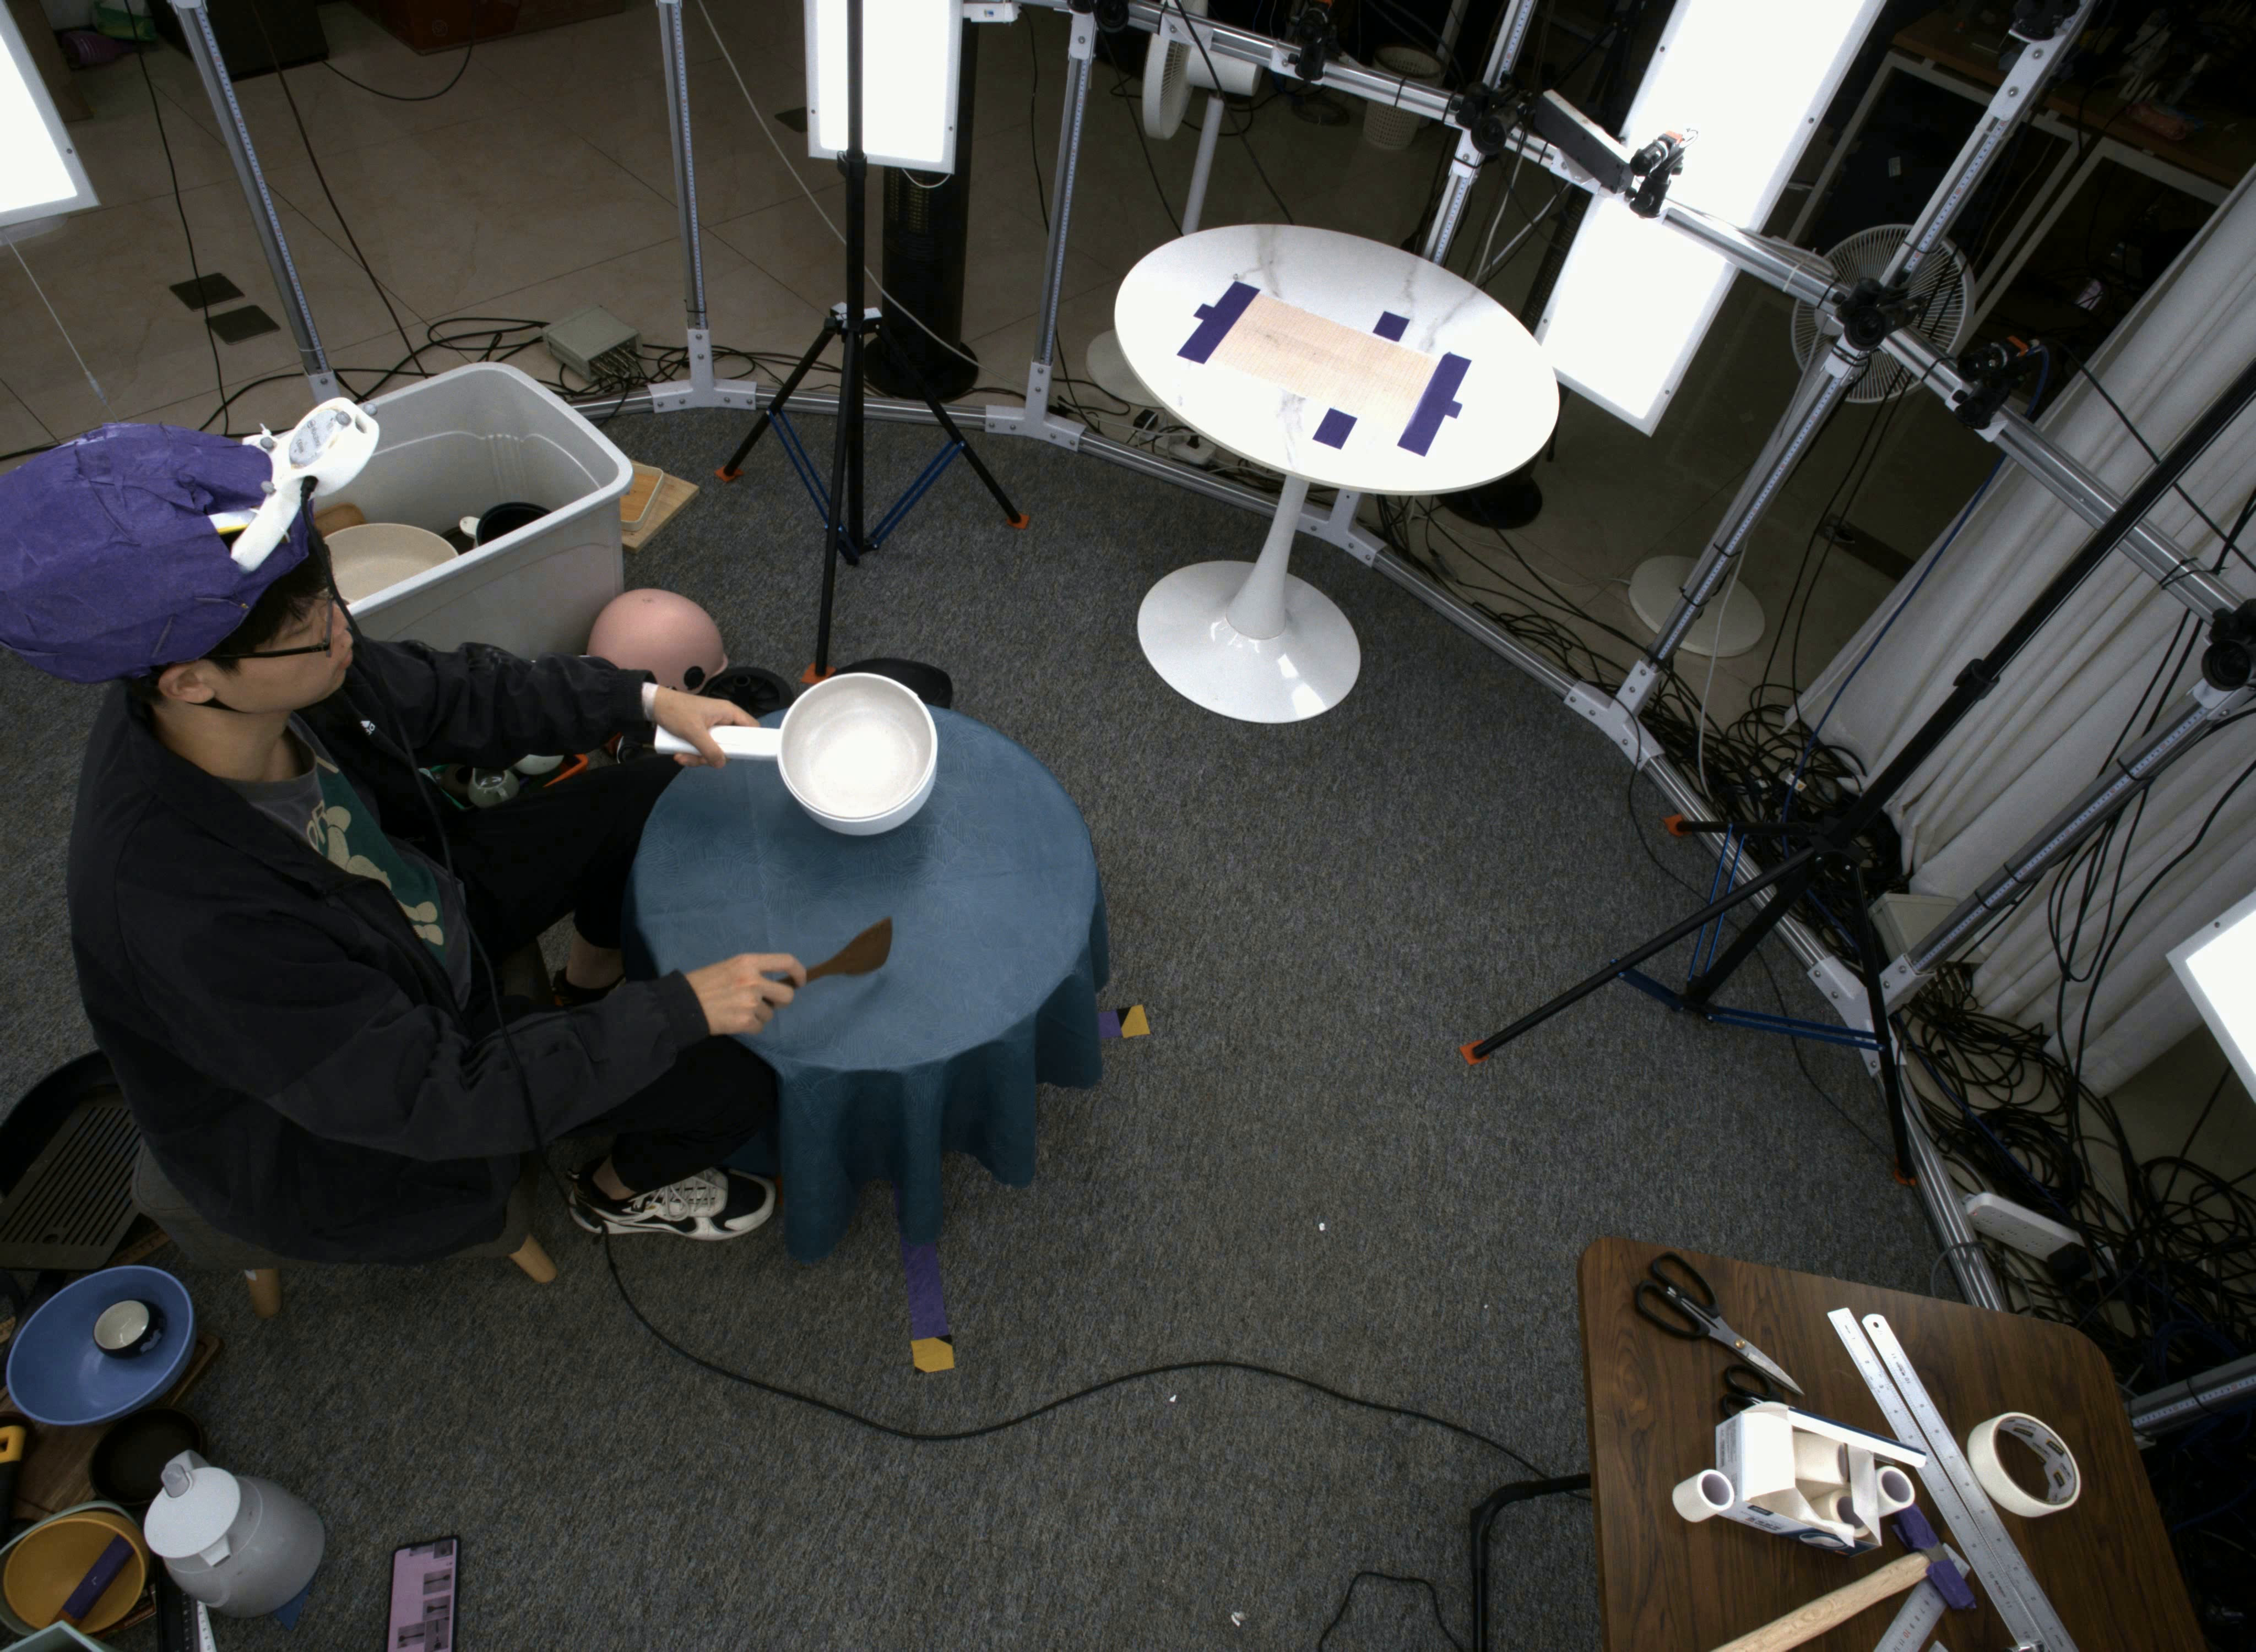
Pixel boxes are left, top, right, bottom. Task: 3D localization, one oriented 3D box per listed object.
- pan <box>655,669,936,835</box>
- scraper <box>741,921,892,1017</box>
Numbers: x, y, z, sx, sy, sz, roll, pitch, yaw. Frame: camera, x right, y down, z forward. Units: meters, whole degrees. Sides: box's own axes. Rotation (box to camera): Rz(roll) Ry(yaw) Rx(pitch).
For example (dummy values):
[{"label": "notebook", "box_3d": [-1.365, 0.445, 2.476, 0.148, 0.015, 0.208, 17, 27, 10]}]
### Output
[{"label": "pan", "box_3d": [-0.424, -0.095, 1.675, 0.352, 0.103, 0.201, 3, 75, -5]}, {"label": "scraper", "box_3d": [-0.362, 0.173, 1.525, 0.010, 0.078, 0.213, 34, 38, 32]}]
